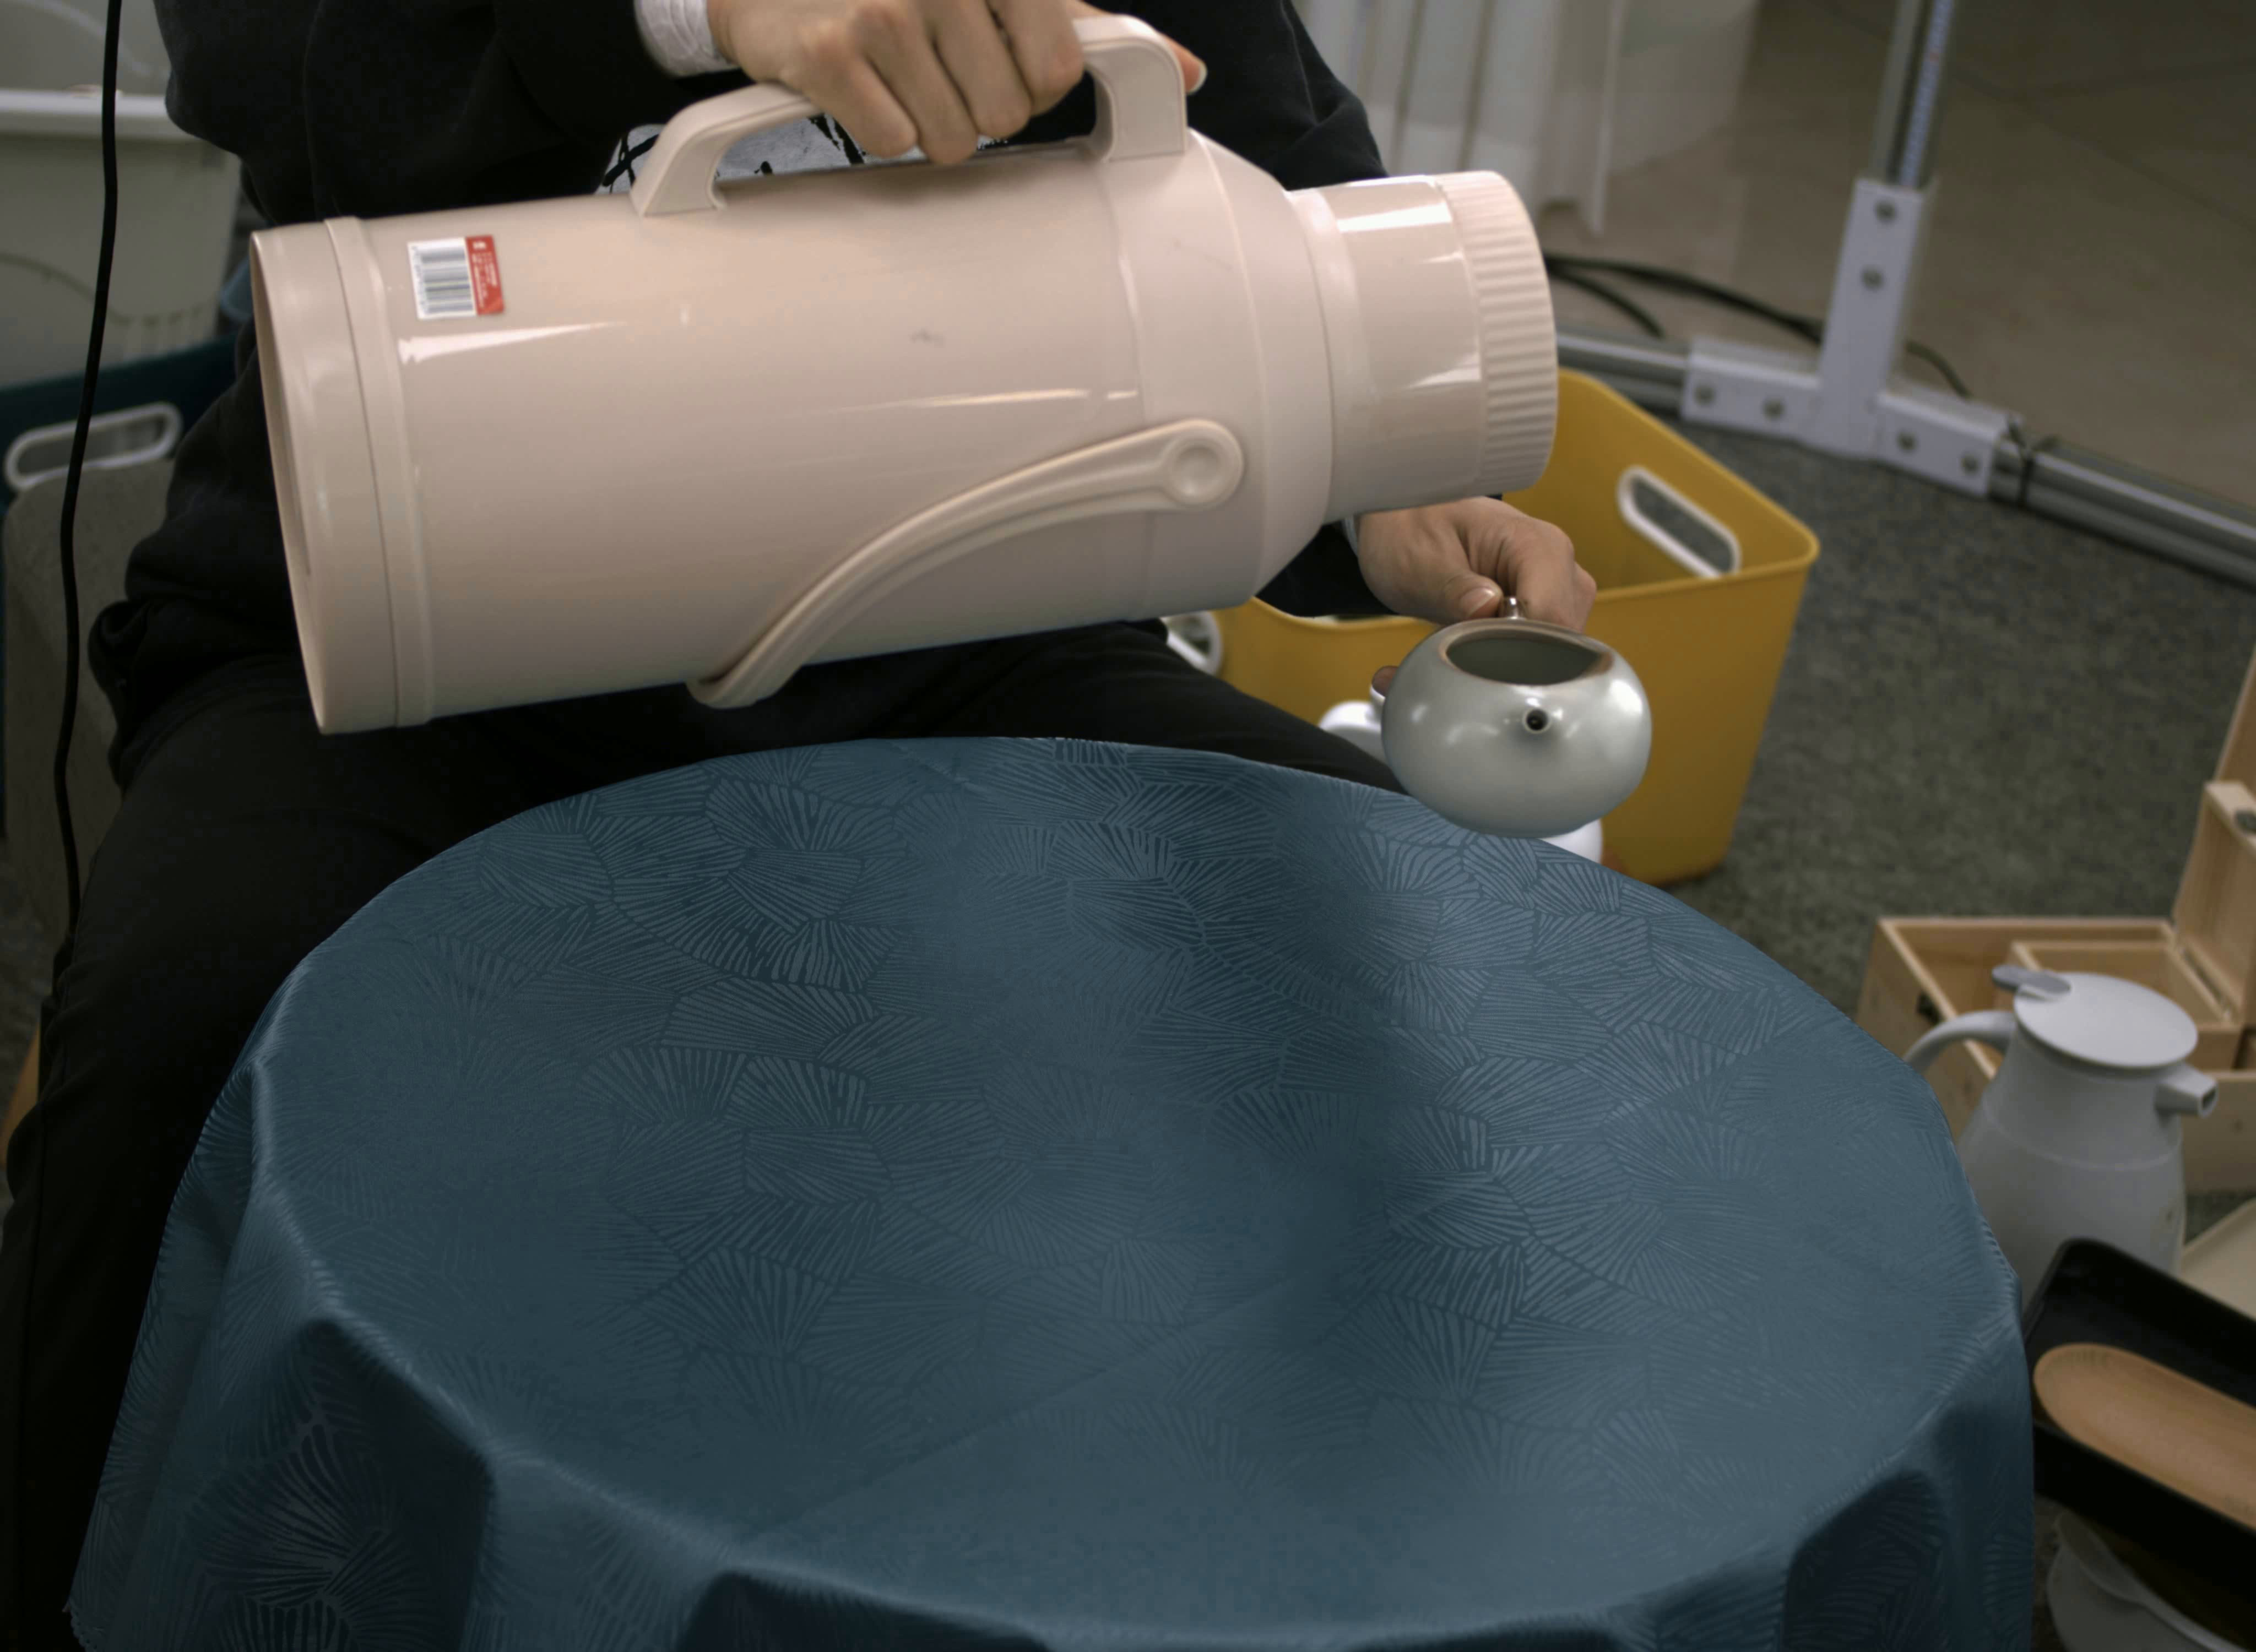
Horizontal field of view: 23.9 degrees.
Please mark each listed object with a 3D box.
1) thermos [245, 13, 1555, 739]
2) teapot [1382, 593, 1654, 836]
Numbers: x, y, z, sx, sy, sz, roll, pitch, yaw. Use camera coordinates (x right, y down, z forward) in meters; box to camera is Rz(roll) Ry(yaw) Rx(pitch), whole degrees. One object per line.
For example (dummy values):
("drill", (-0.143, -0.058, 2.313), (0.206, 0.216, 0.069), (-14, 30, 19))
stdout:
("thermos", (-0.073, -0.147, 1.694), (0.404, 0.206, 0.176), (-8, 26, -8))
("teapot", (0.131, -0.038, 1.806), (0.091, 0.059, 0.129), (-1, 24, -3))
